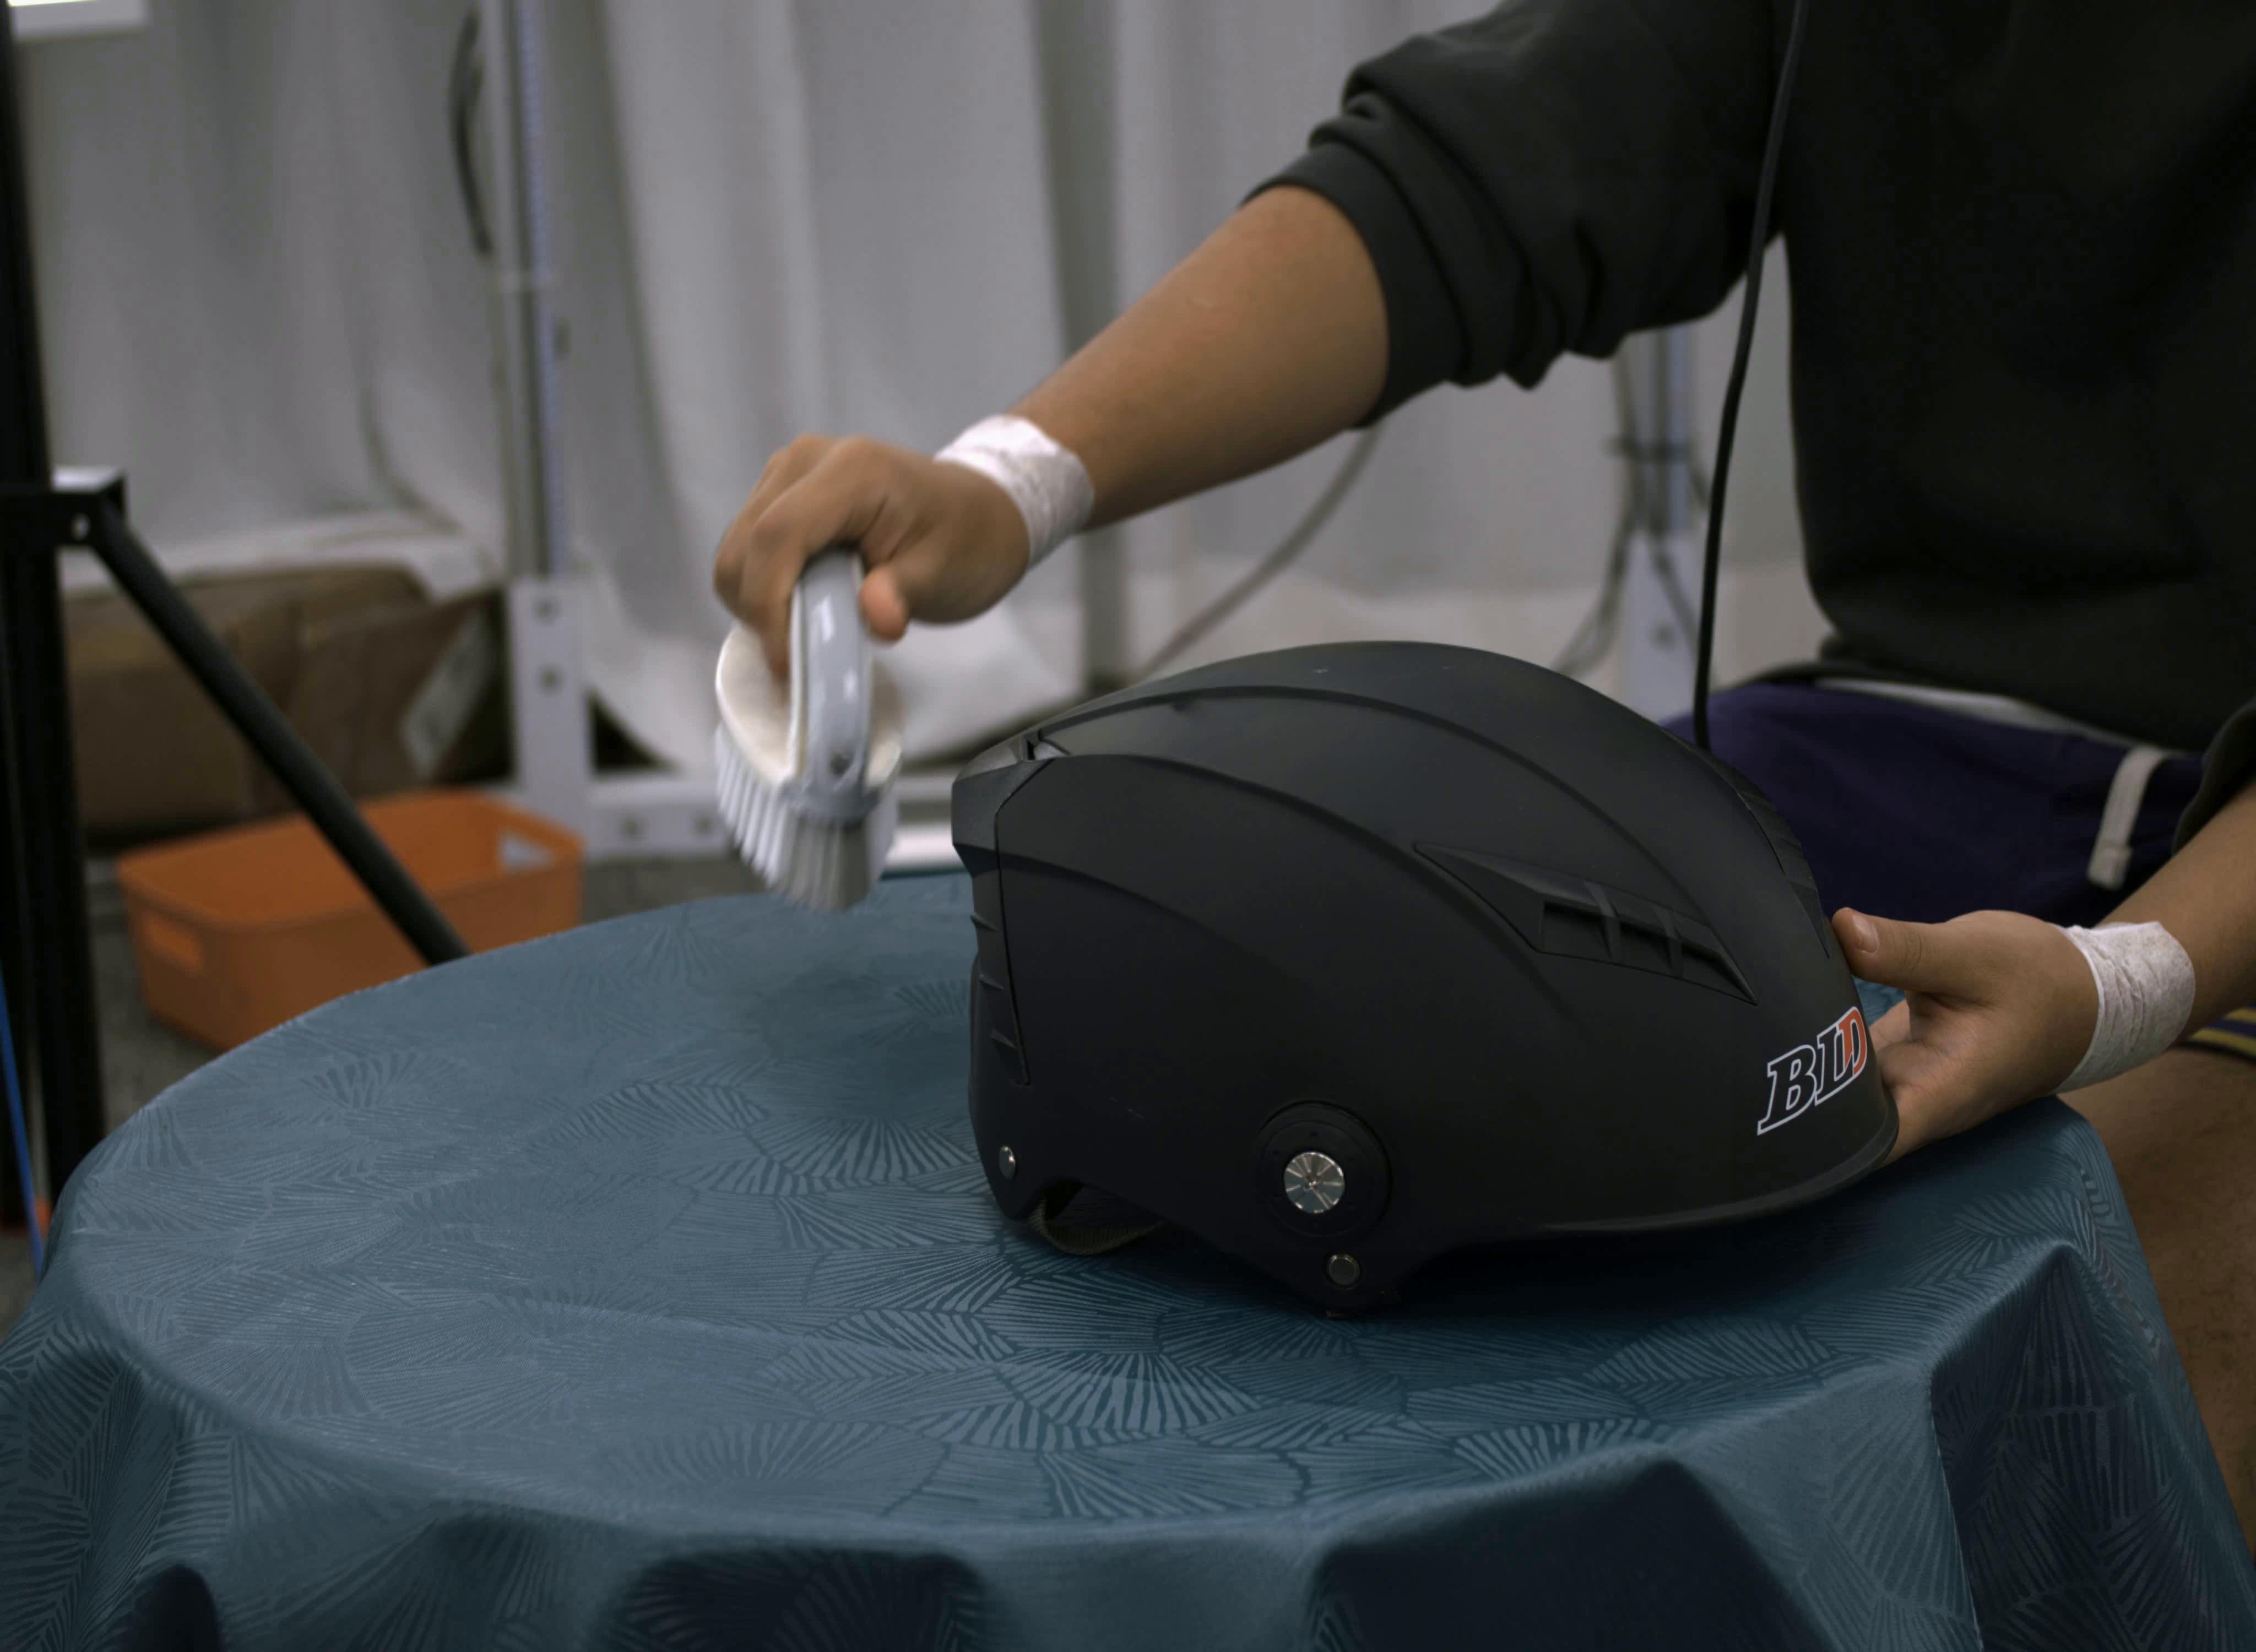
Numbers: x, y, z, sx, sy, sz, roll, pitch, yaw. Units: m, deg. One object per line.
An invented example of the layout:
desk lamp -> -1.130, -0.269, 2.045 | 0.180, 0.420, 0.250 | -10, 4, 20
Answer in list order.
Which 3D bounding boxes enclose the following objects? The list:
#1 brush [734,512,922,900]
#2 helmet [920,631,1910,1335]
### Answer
brush -> -0.094, -0.044, 1.719 | 0.061, 0.094, 0.177 | 0, 20, -8
helmet -> 0.079, 0.031, 1.528 | 0.282, 0.172, 0.242 | 3, 17, 35
